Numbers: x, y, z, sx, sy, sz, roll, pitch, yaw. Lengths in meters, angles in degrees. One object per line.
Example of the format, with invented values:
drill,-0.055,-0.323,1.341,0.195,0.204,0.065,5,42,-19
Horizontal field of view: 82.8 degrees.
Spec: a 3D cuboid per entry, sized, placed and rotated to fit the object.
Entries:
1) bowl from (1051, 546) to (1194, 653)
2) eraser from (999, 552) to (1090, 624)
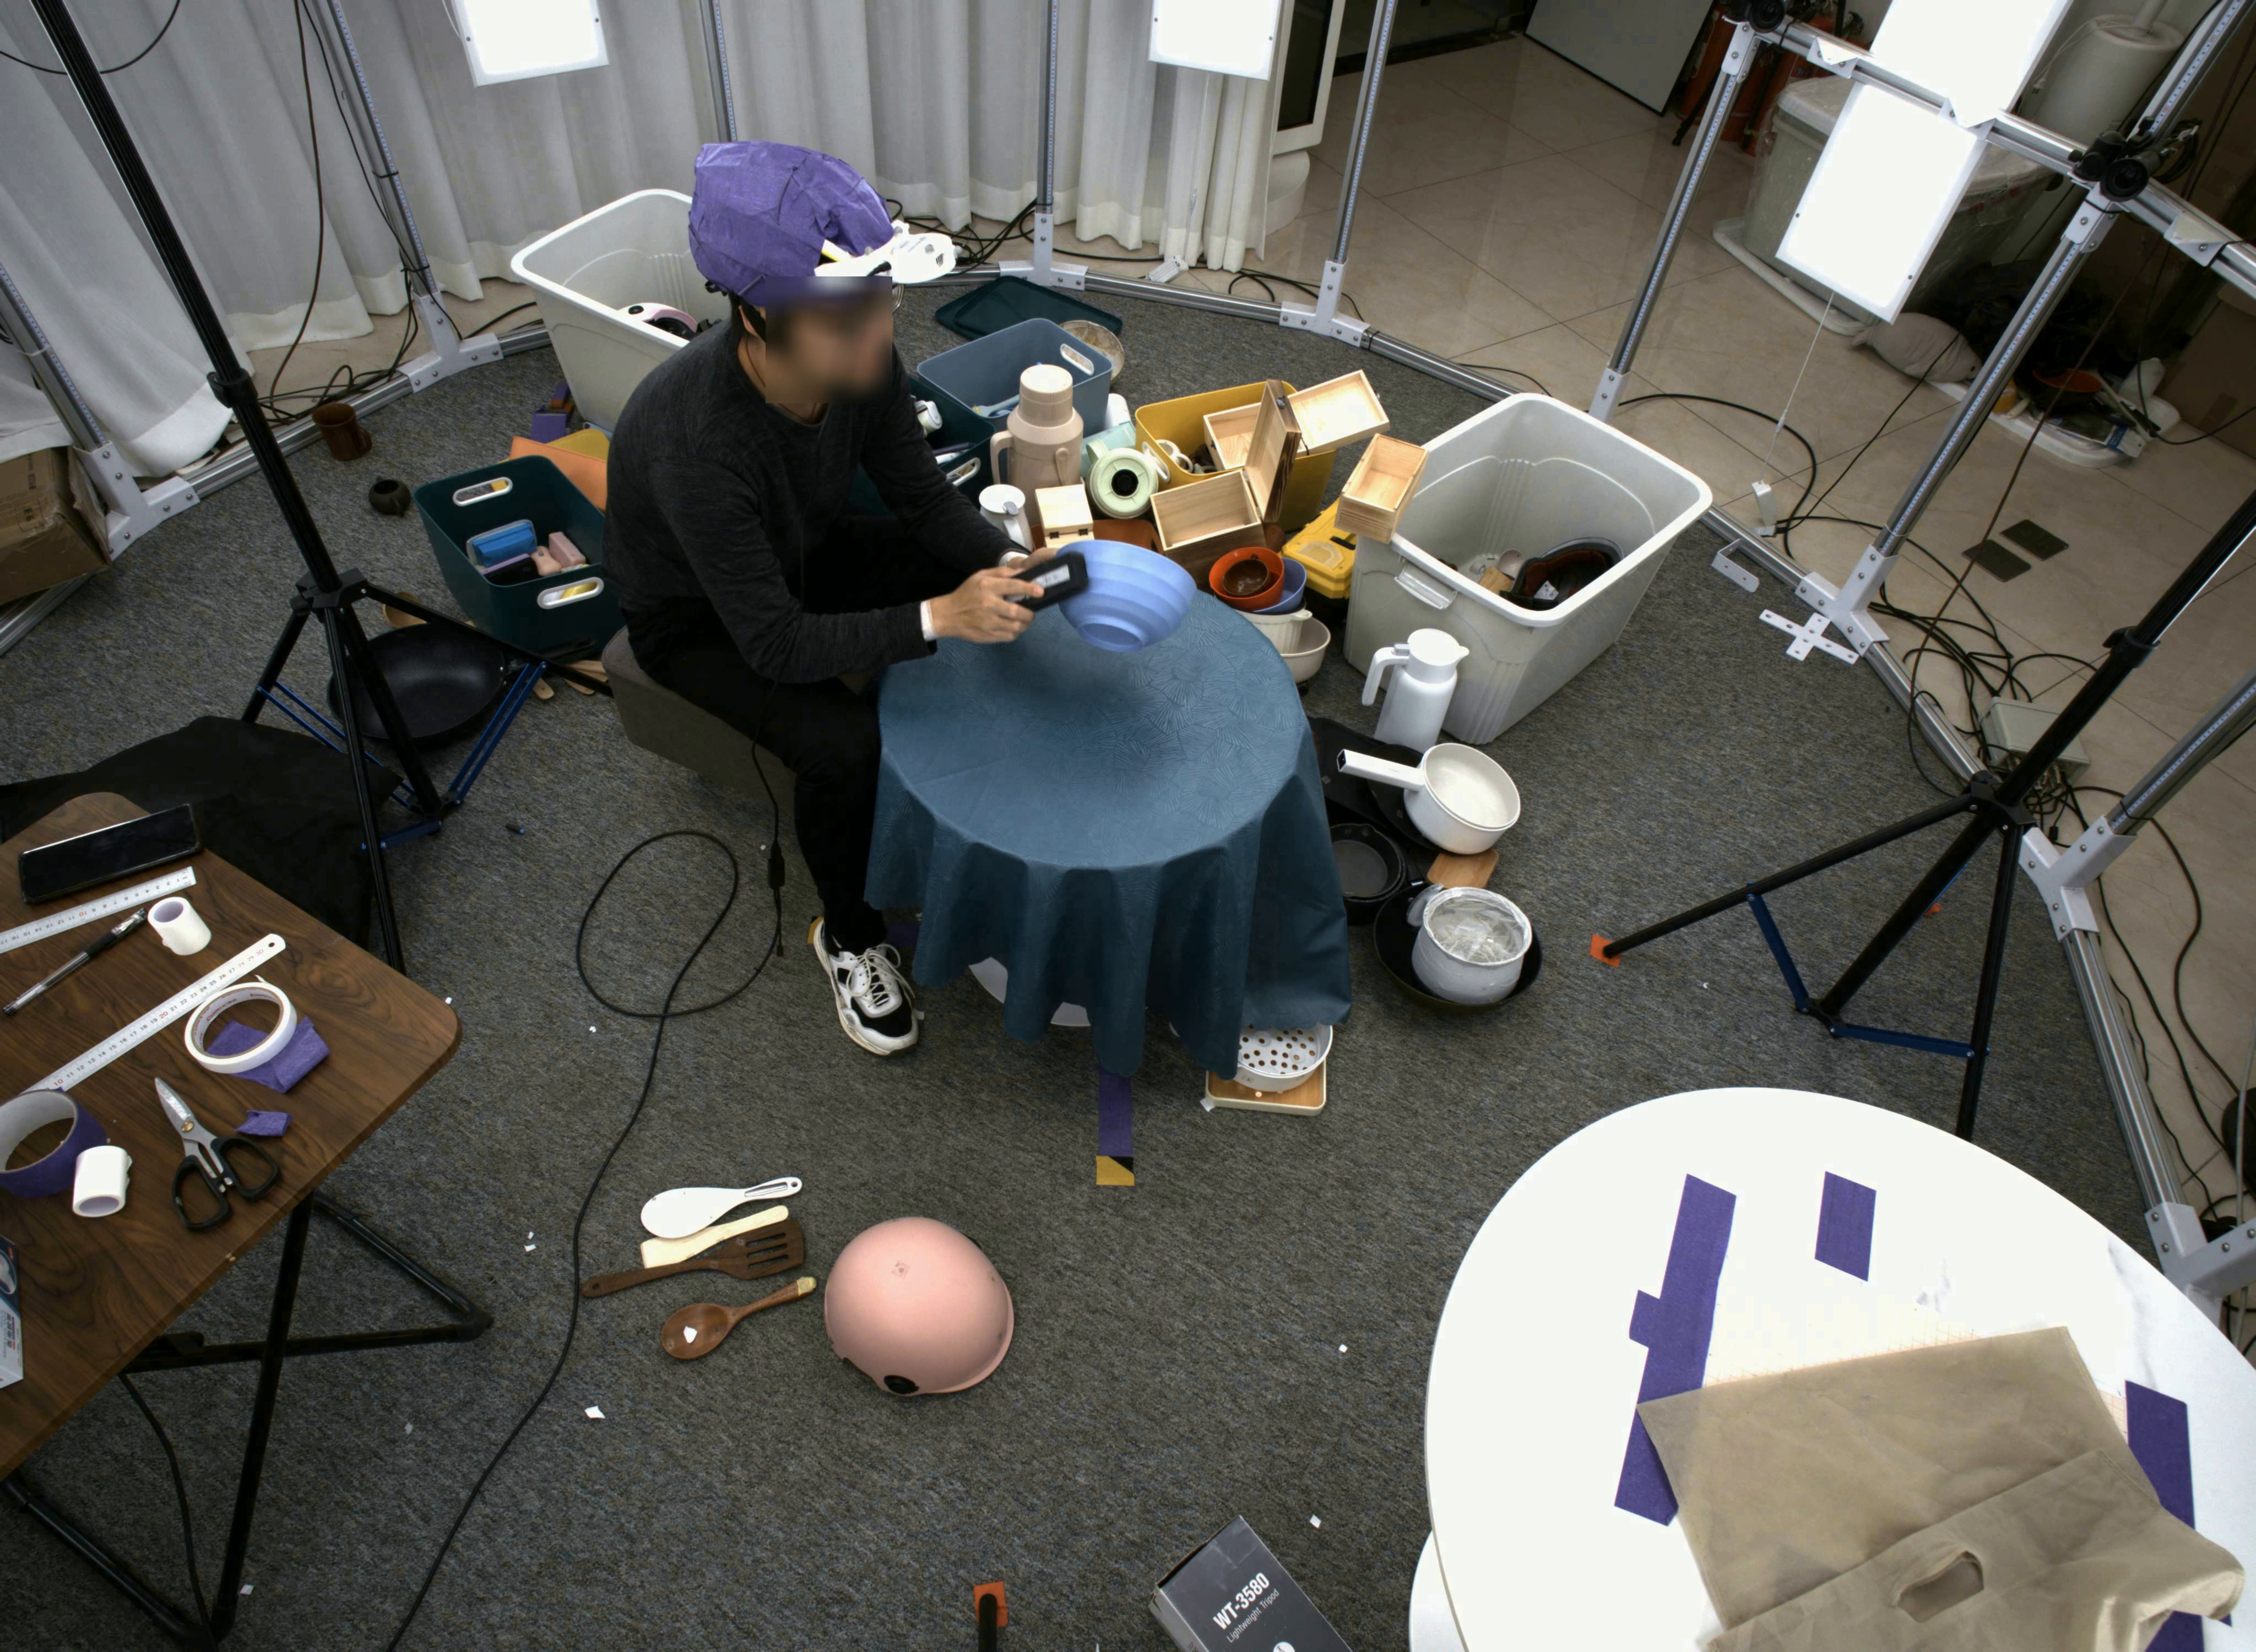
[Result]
bowl,-0.015,-0.293,1.726,0.196,0.195,0.096,10,82,4
eraser,-0.109,-0.308,1.667,0.030,0.125,0.054,1,75,-57
